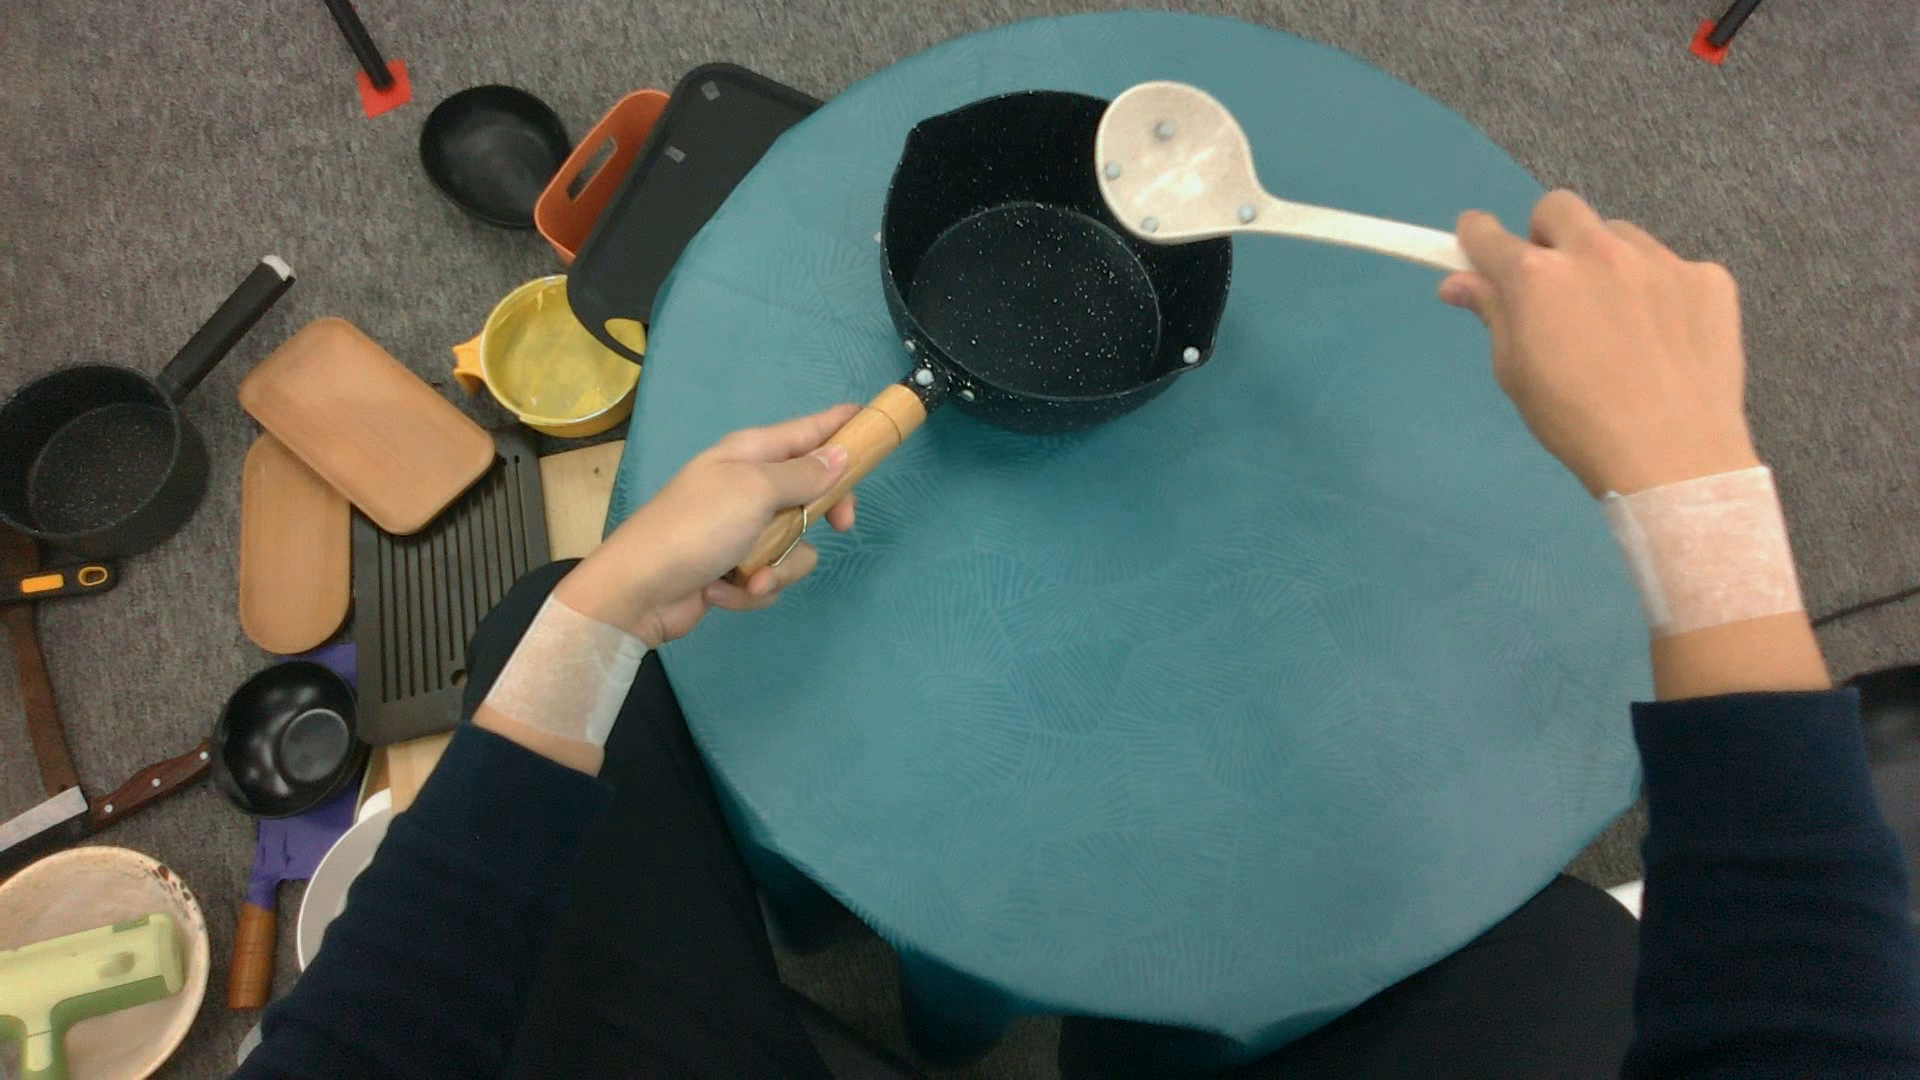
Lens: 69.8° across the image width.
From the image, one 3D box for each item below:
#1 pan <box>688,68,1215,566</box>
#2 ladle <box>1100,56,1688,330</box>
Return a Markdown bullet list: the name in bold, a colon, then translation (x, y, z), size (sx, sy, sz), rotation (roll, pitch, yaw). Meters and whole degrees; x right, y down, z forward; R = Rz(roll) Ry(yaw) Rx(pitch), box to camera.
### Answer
- **pan**: translation (-0.011, -0.099, 0.712), size (0.207, 0.108, 0.344), rotation (39, 70, 6)
- **ladle**: translation (0.181, -0.157, 0.603), size (0.275, 0.069, 0.089), rotation (27, 59, 39)
